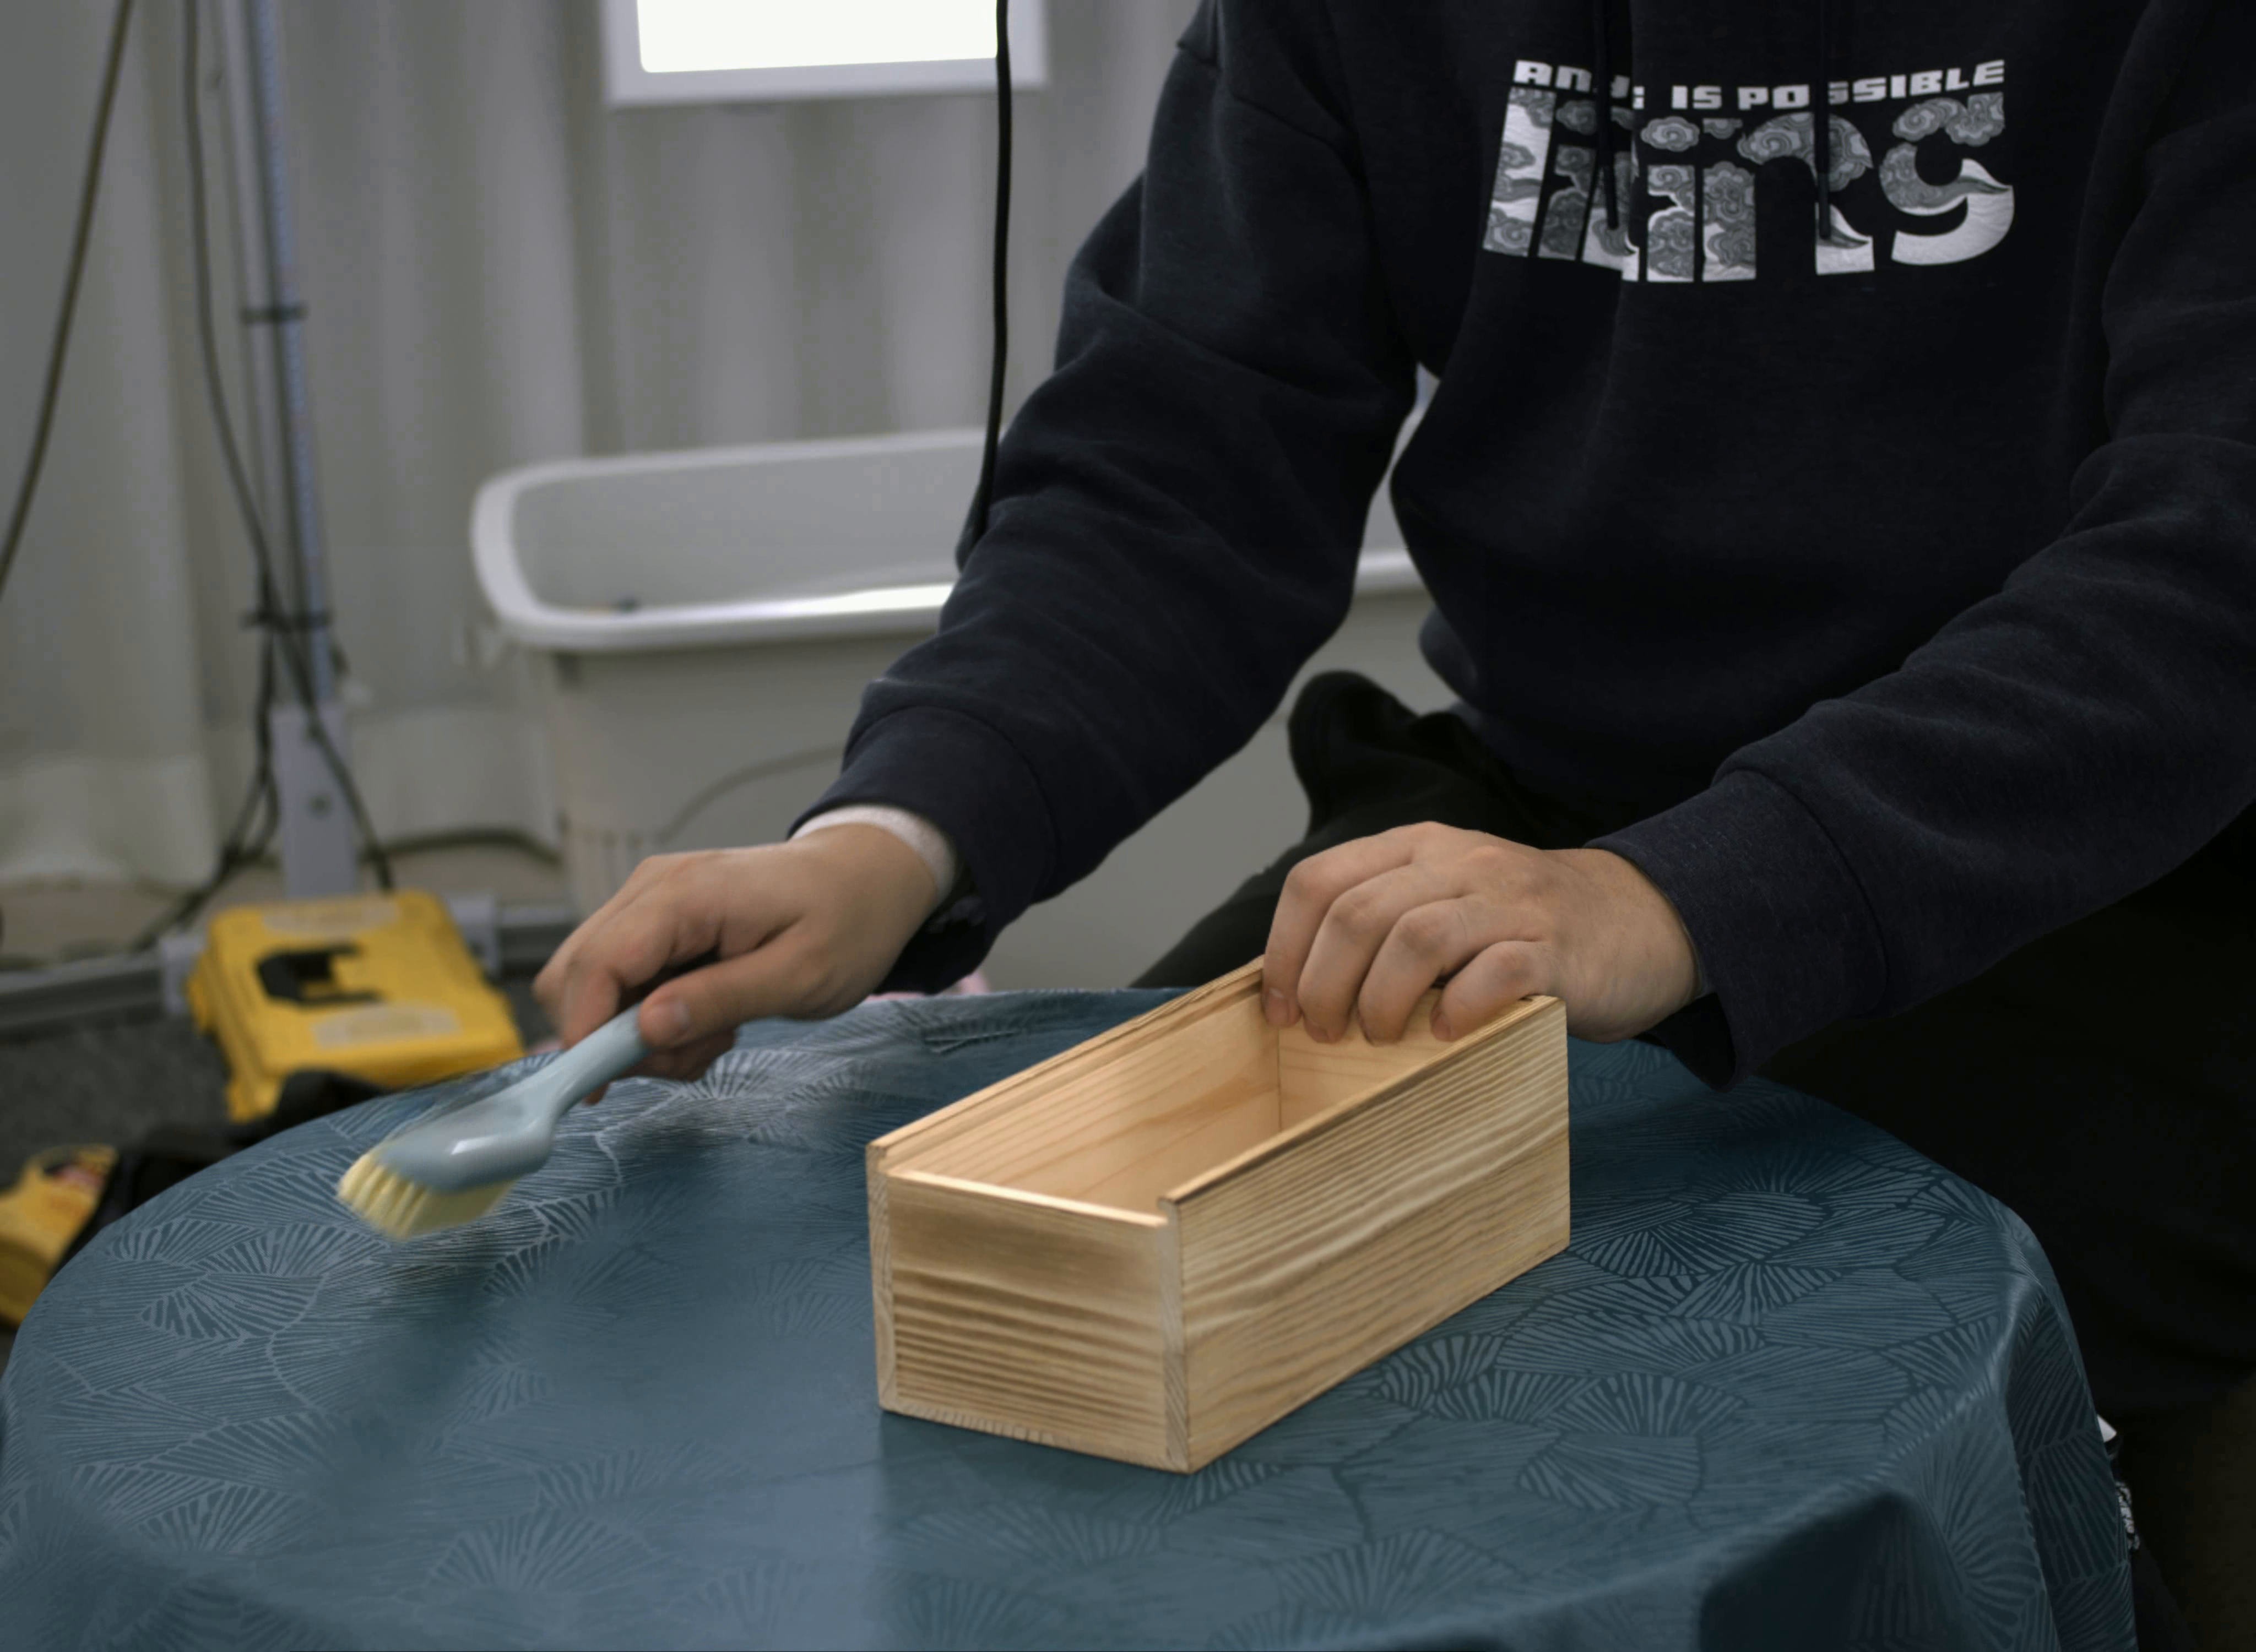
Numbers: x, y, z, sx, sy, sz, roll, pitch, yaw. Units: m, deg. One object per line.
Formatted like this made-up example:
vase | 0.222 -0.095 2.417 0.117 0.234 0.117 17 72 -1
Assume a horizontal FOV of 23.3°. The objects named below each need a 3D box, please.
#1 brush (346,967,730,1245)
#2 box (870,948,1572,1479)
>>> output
brush | -0.184 0.087 1.741 0.038 0.049 0.229 34 24 10
box | 0.031 0.108 1.584 0.108 0.080 0.211 7 18 33
